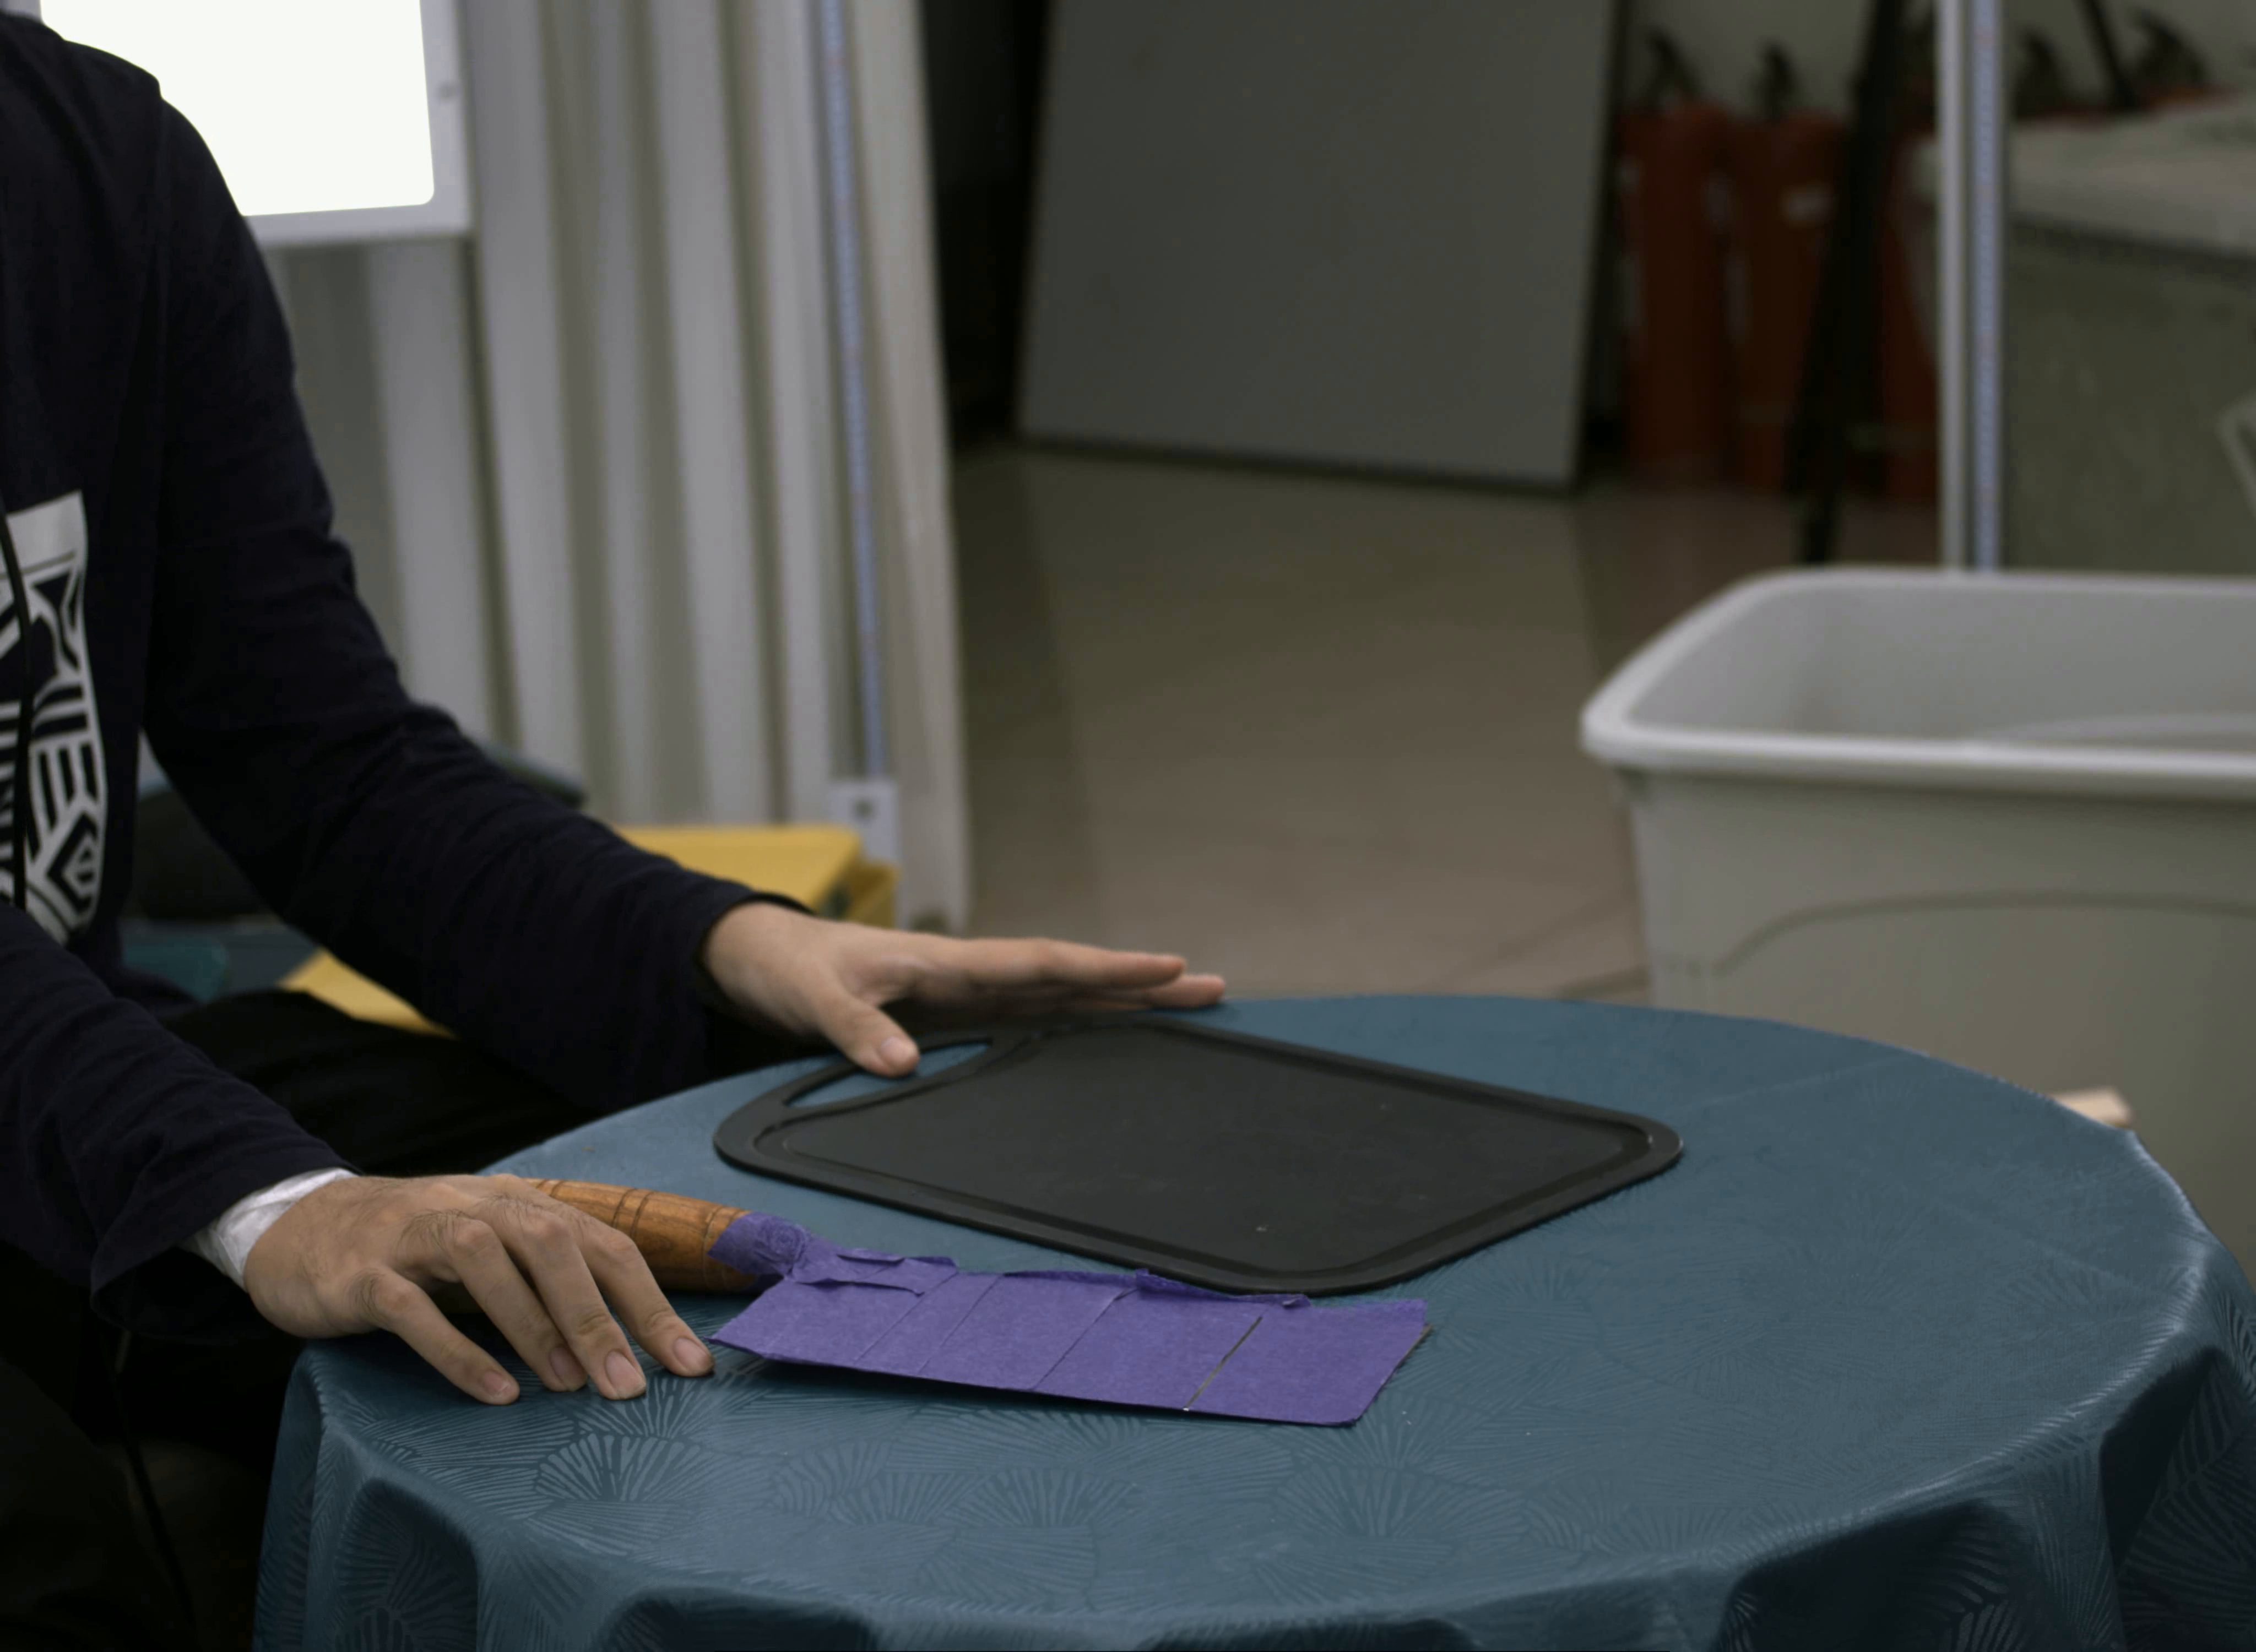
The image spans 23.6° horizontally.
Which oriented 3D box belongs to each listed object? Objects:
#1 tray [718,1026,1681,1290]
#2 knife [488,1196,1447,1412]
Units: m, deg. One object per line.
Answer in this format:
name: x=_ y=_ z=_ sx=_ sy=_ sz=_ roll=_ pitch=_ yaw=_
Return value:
tray: x=0.014 y=0.107 z=1.820 sx=0.328 sy=0.010 sz=0.207 roll=9 pitch=19 yaw=44
knife: x=-0.063 y=0.145 z=1.638 sx=0.315 sy=0.032 sz=0.103 roll=2 pitch=14 yaw=22
